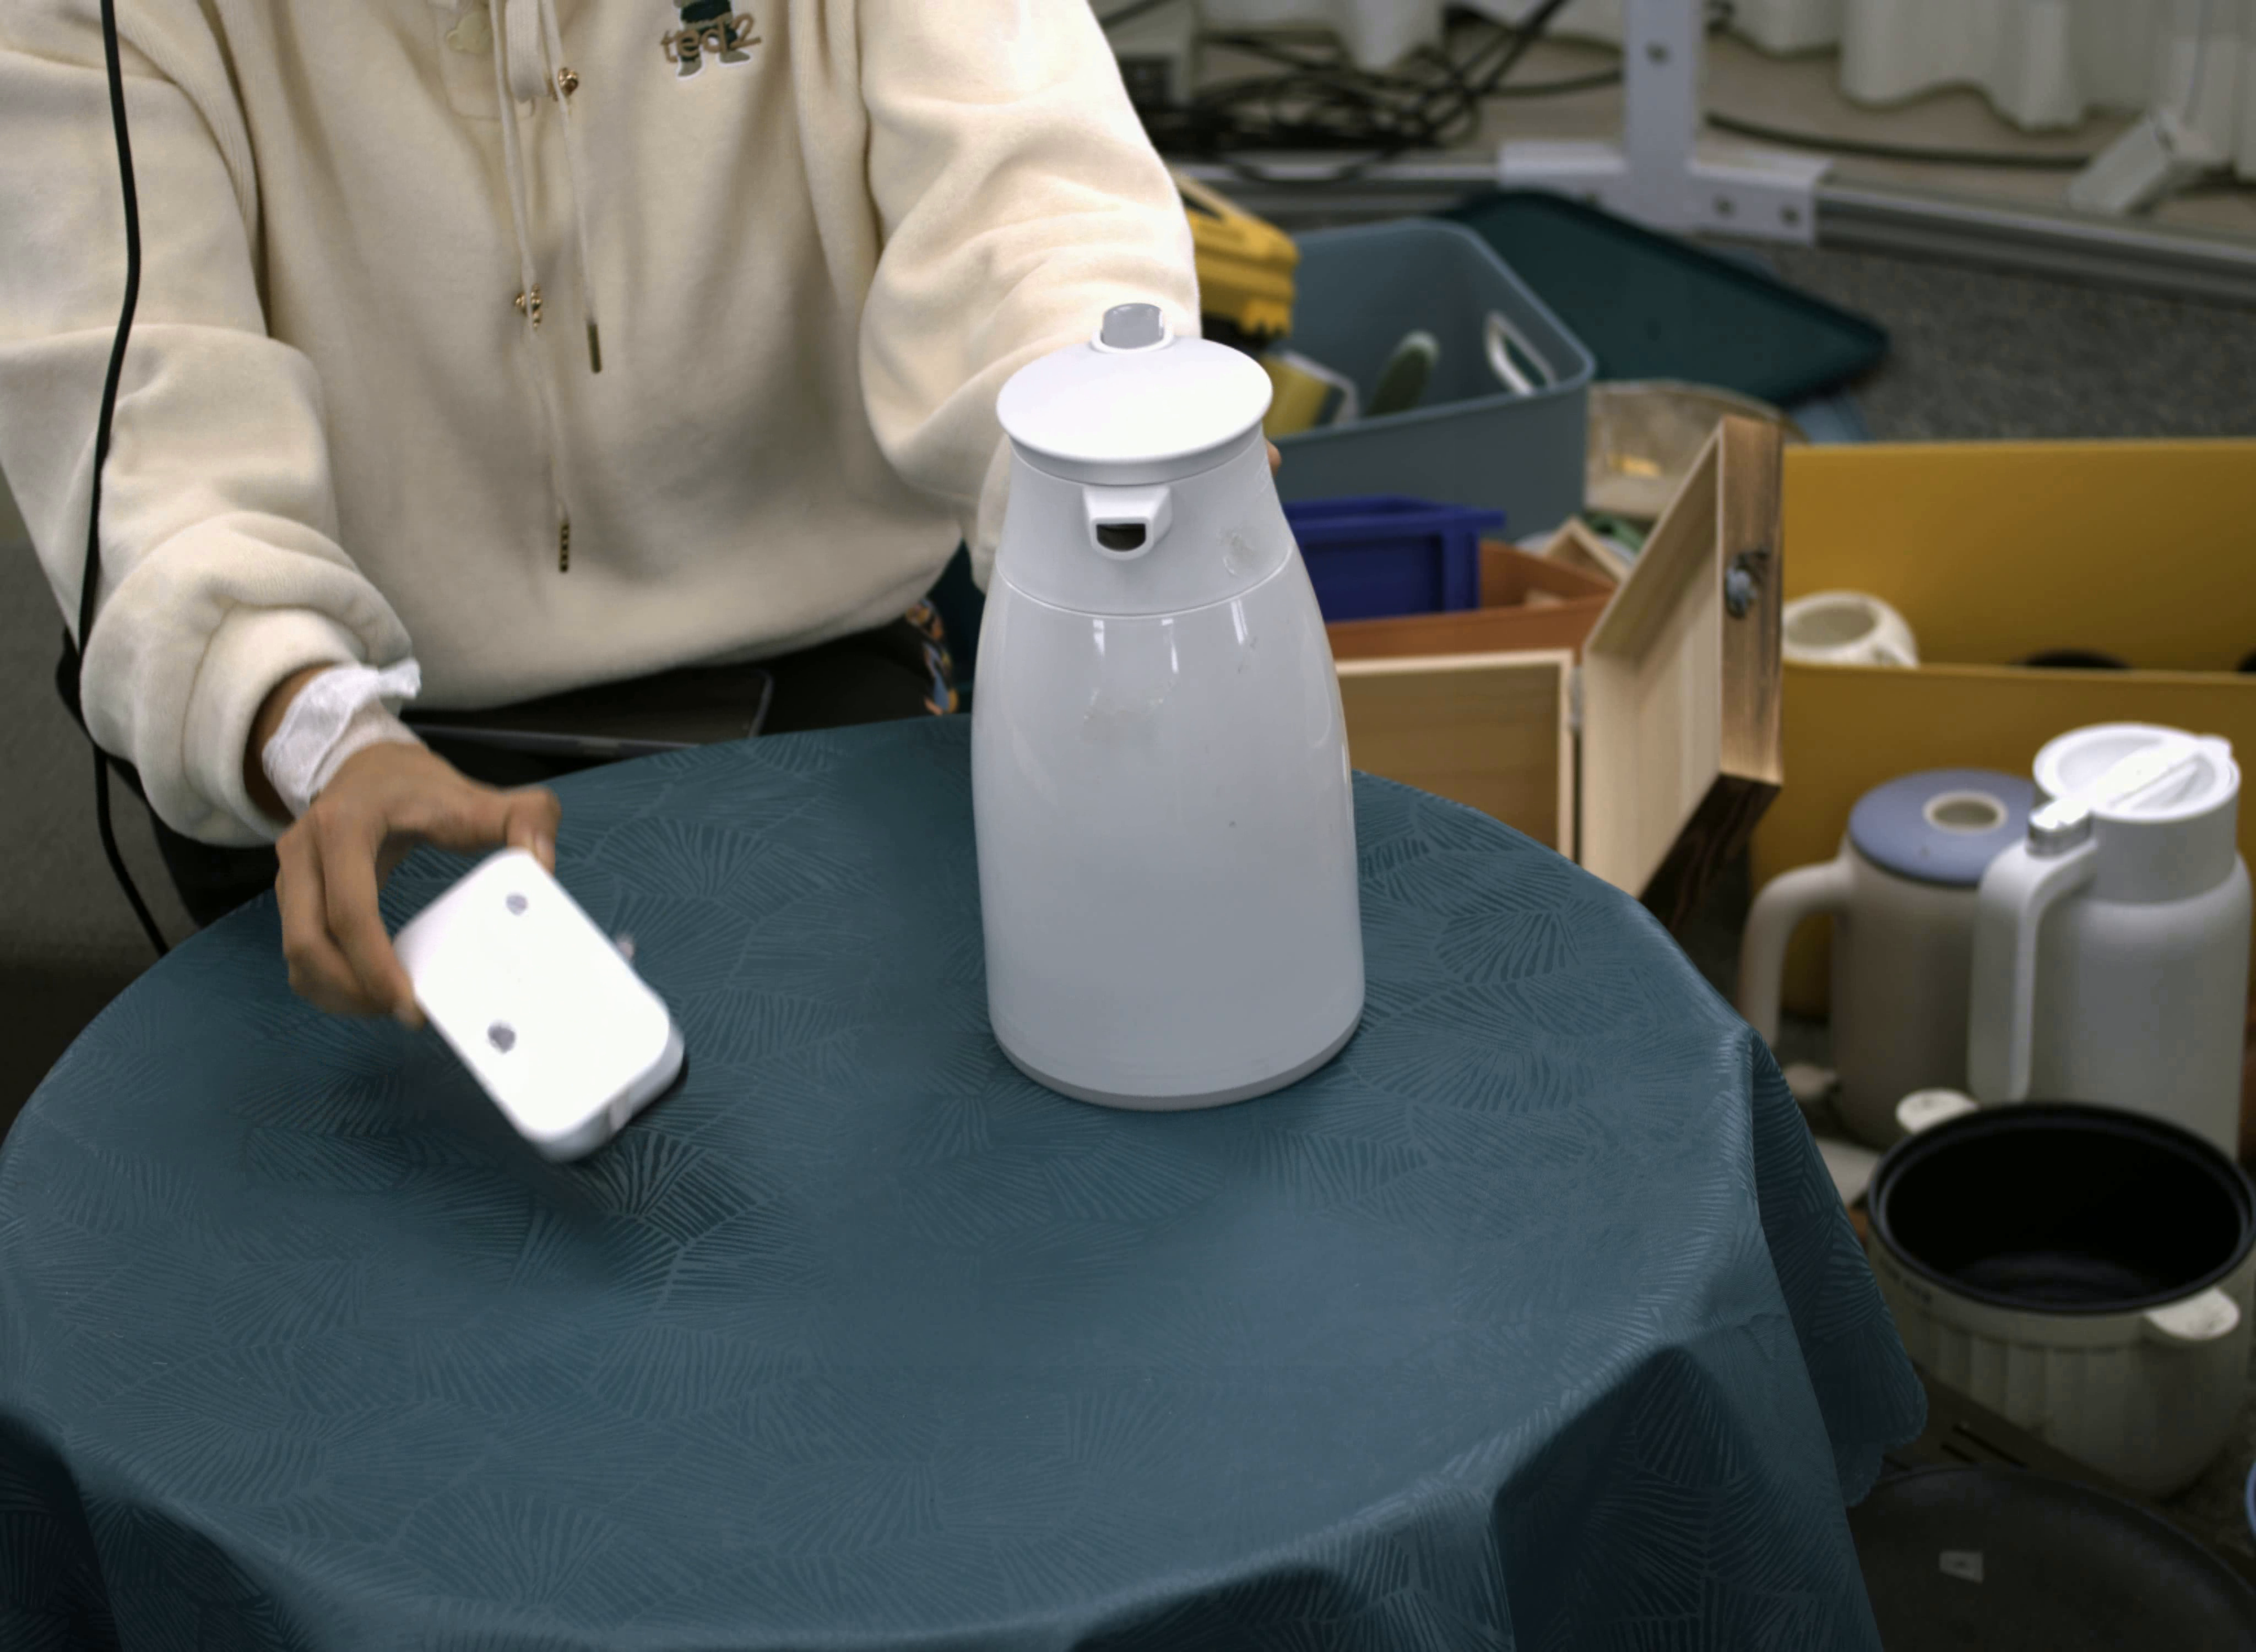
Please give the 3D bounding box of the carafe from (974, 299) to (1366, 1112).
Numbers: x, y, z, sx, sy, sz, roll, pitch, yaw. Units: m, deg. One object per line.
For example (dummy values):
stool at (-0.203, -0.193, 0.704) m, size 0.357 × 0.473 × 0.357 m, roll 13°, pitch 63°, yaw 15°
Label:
carafe at (0.011, -0.051, 1.920) m, size 0.132 × 0.246 × 0.170 m, roll -2°, pitch 28°, yaw 5°

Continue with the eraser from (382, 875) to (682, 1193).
eraser at (-0.198, 0.067, 1.873) m, size 0.063 × 0.034 × 0.132 m, roll -35°, pitch 44°, yaw -8°
